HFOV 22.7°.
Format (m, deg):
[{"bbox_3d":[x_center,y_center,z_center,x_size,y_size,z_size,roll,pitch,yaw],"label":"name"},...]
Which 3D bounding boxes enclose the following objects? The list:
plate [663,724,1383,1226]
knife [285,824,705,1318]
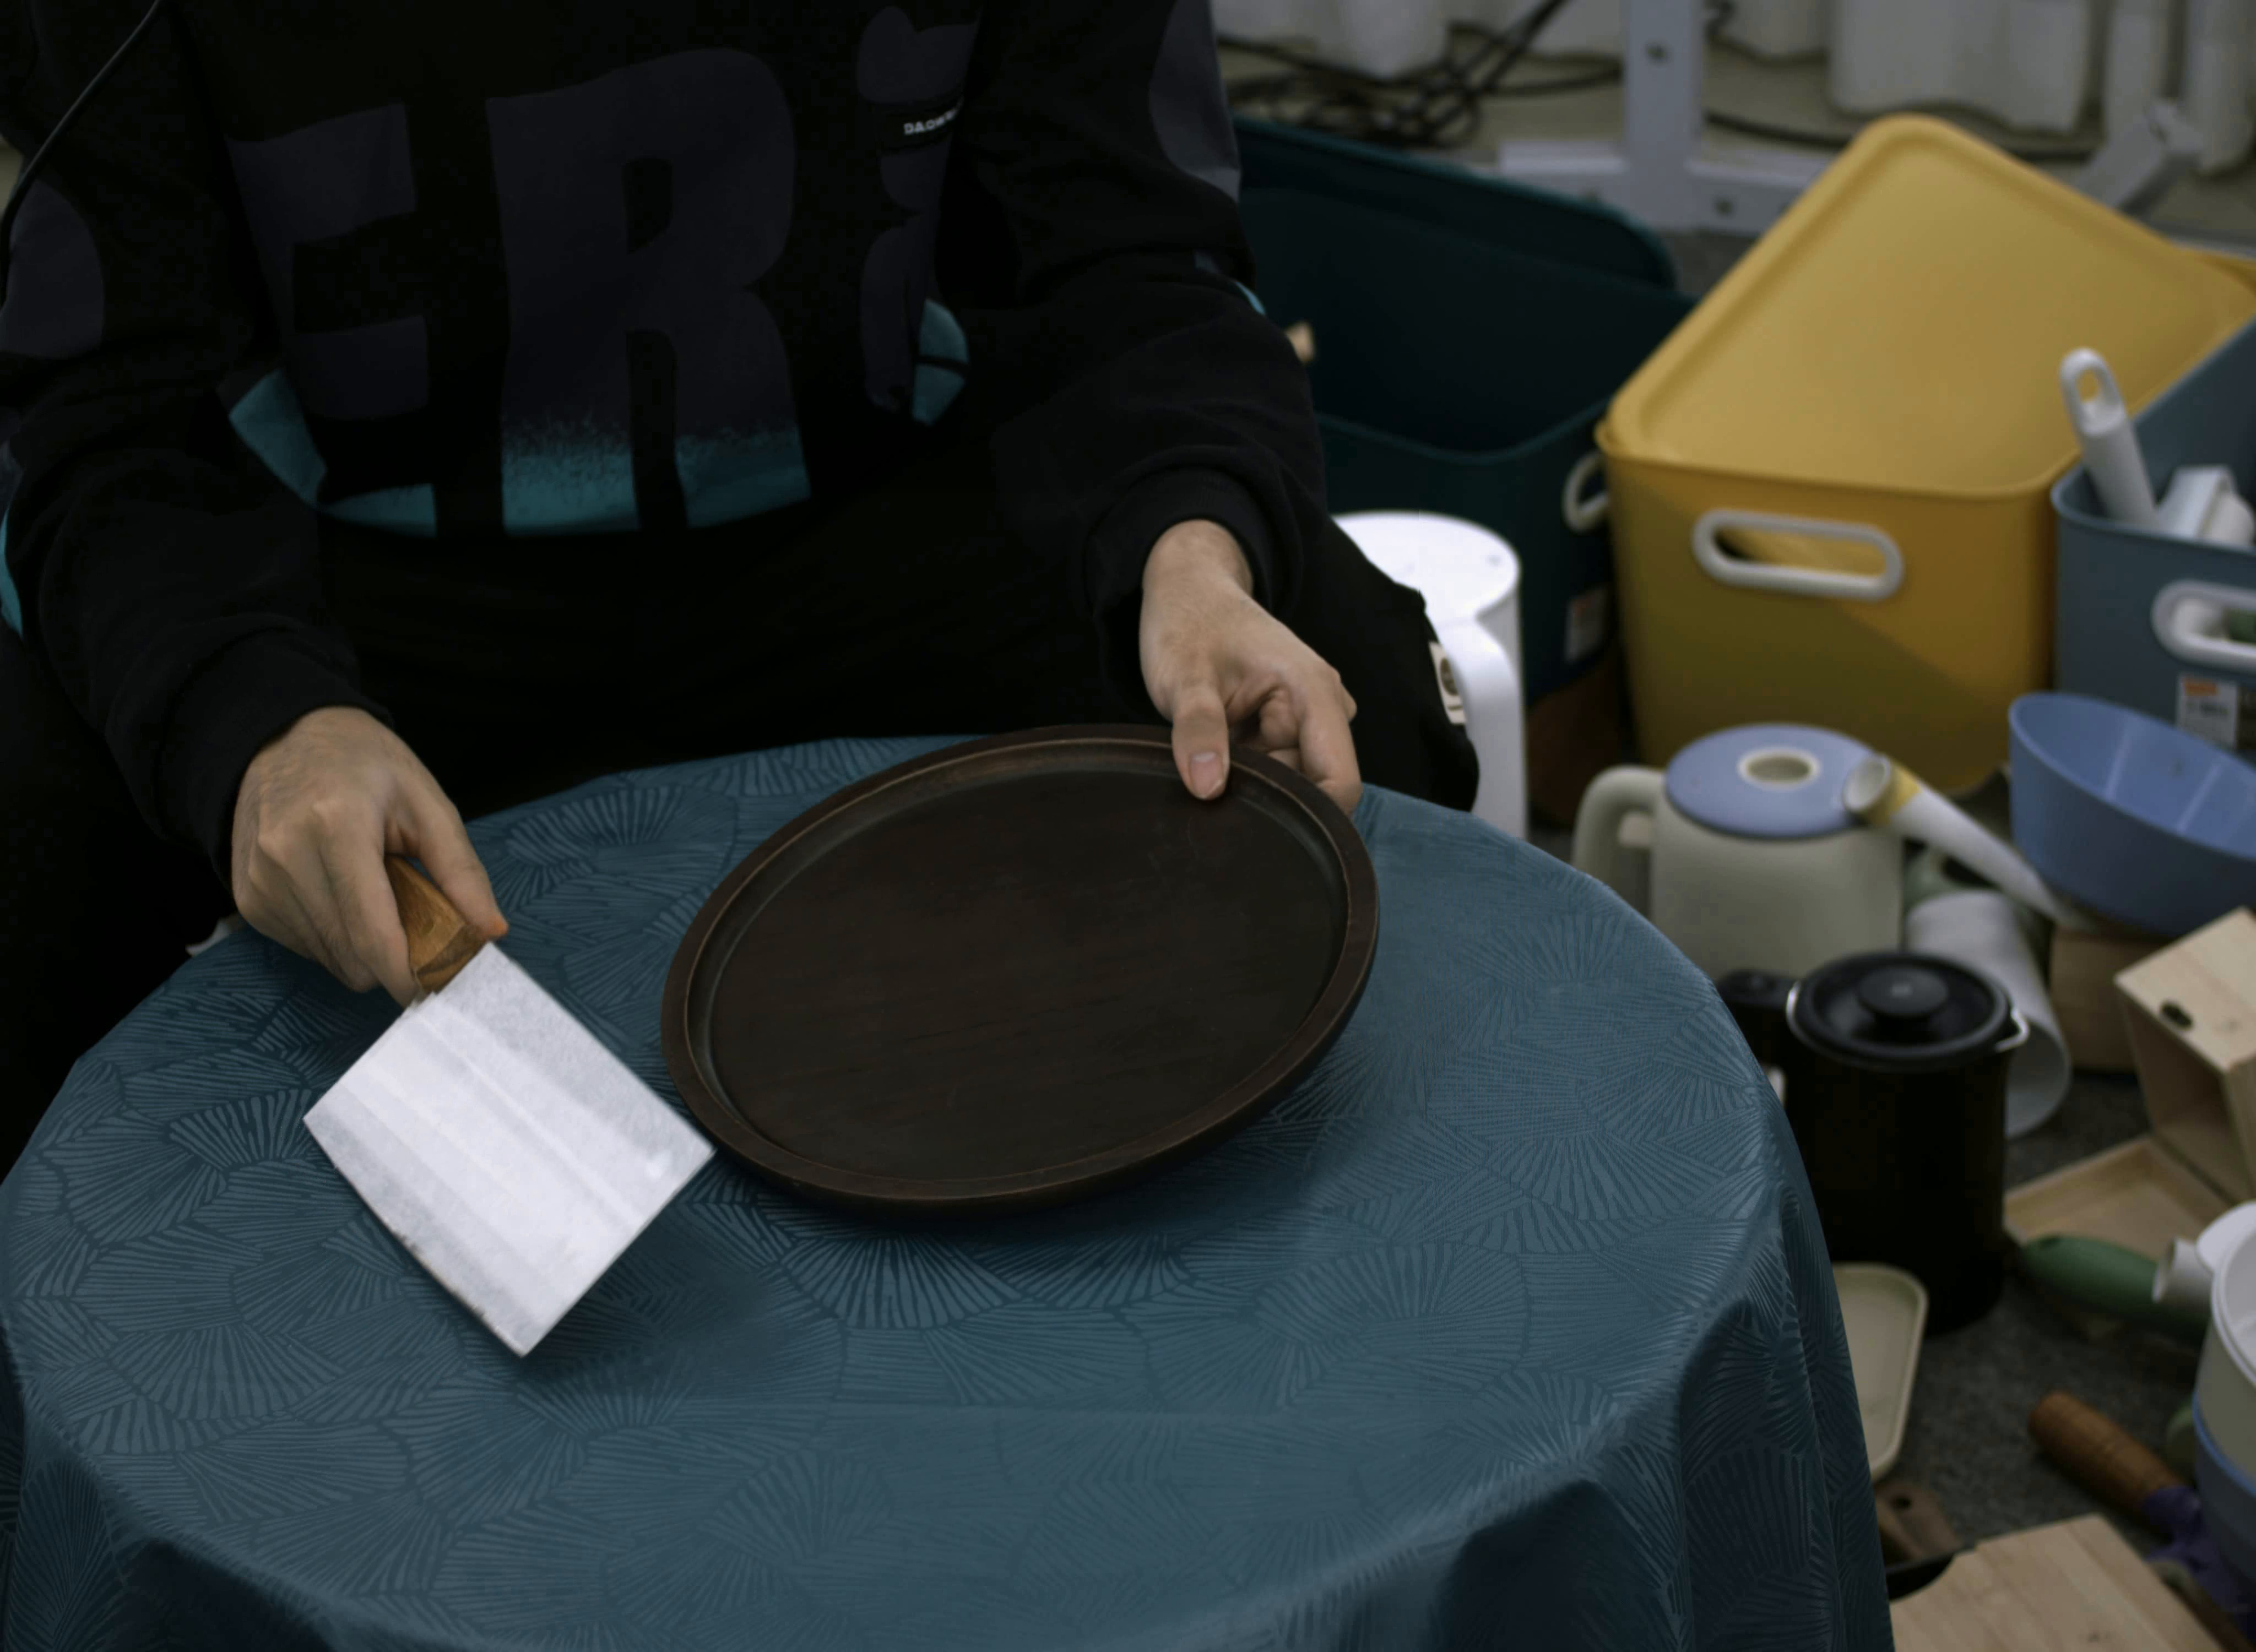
[{"bbox_3d":[-0.036,0.050,1.927,0.253,0.028,0.259,-7,36,5],"label":"plate"},{"bbox_3d":[-0.234,0.083,1.892,0.093,0.021,0.307,-46,36,-5],"label":"knife"}]
